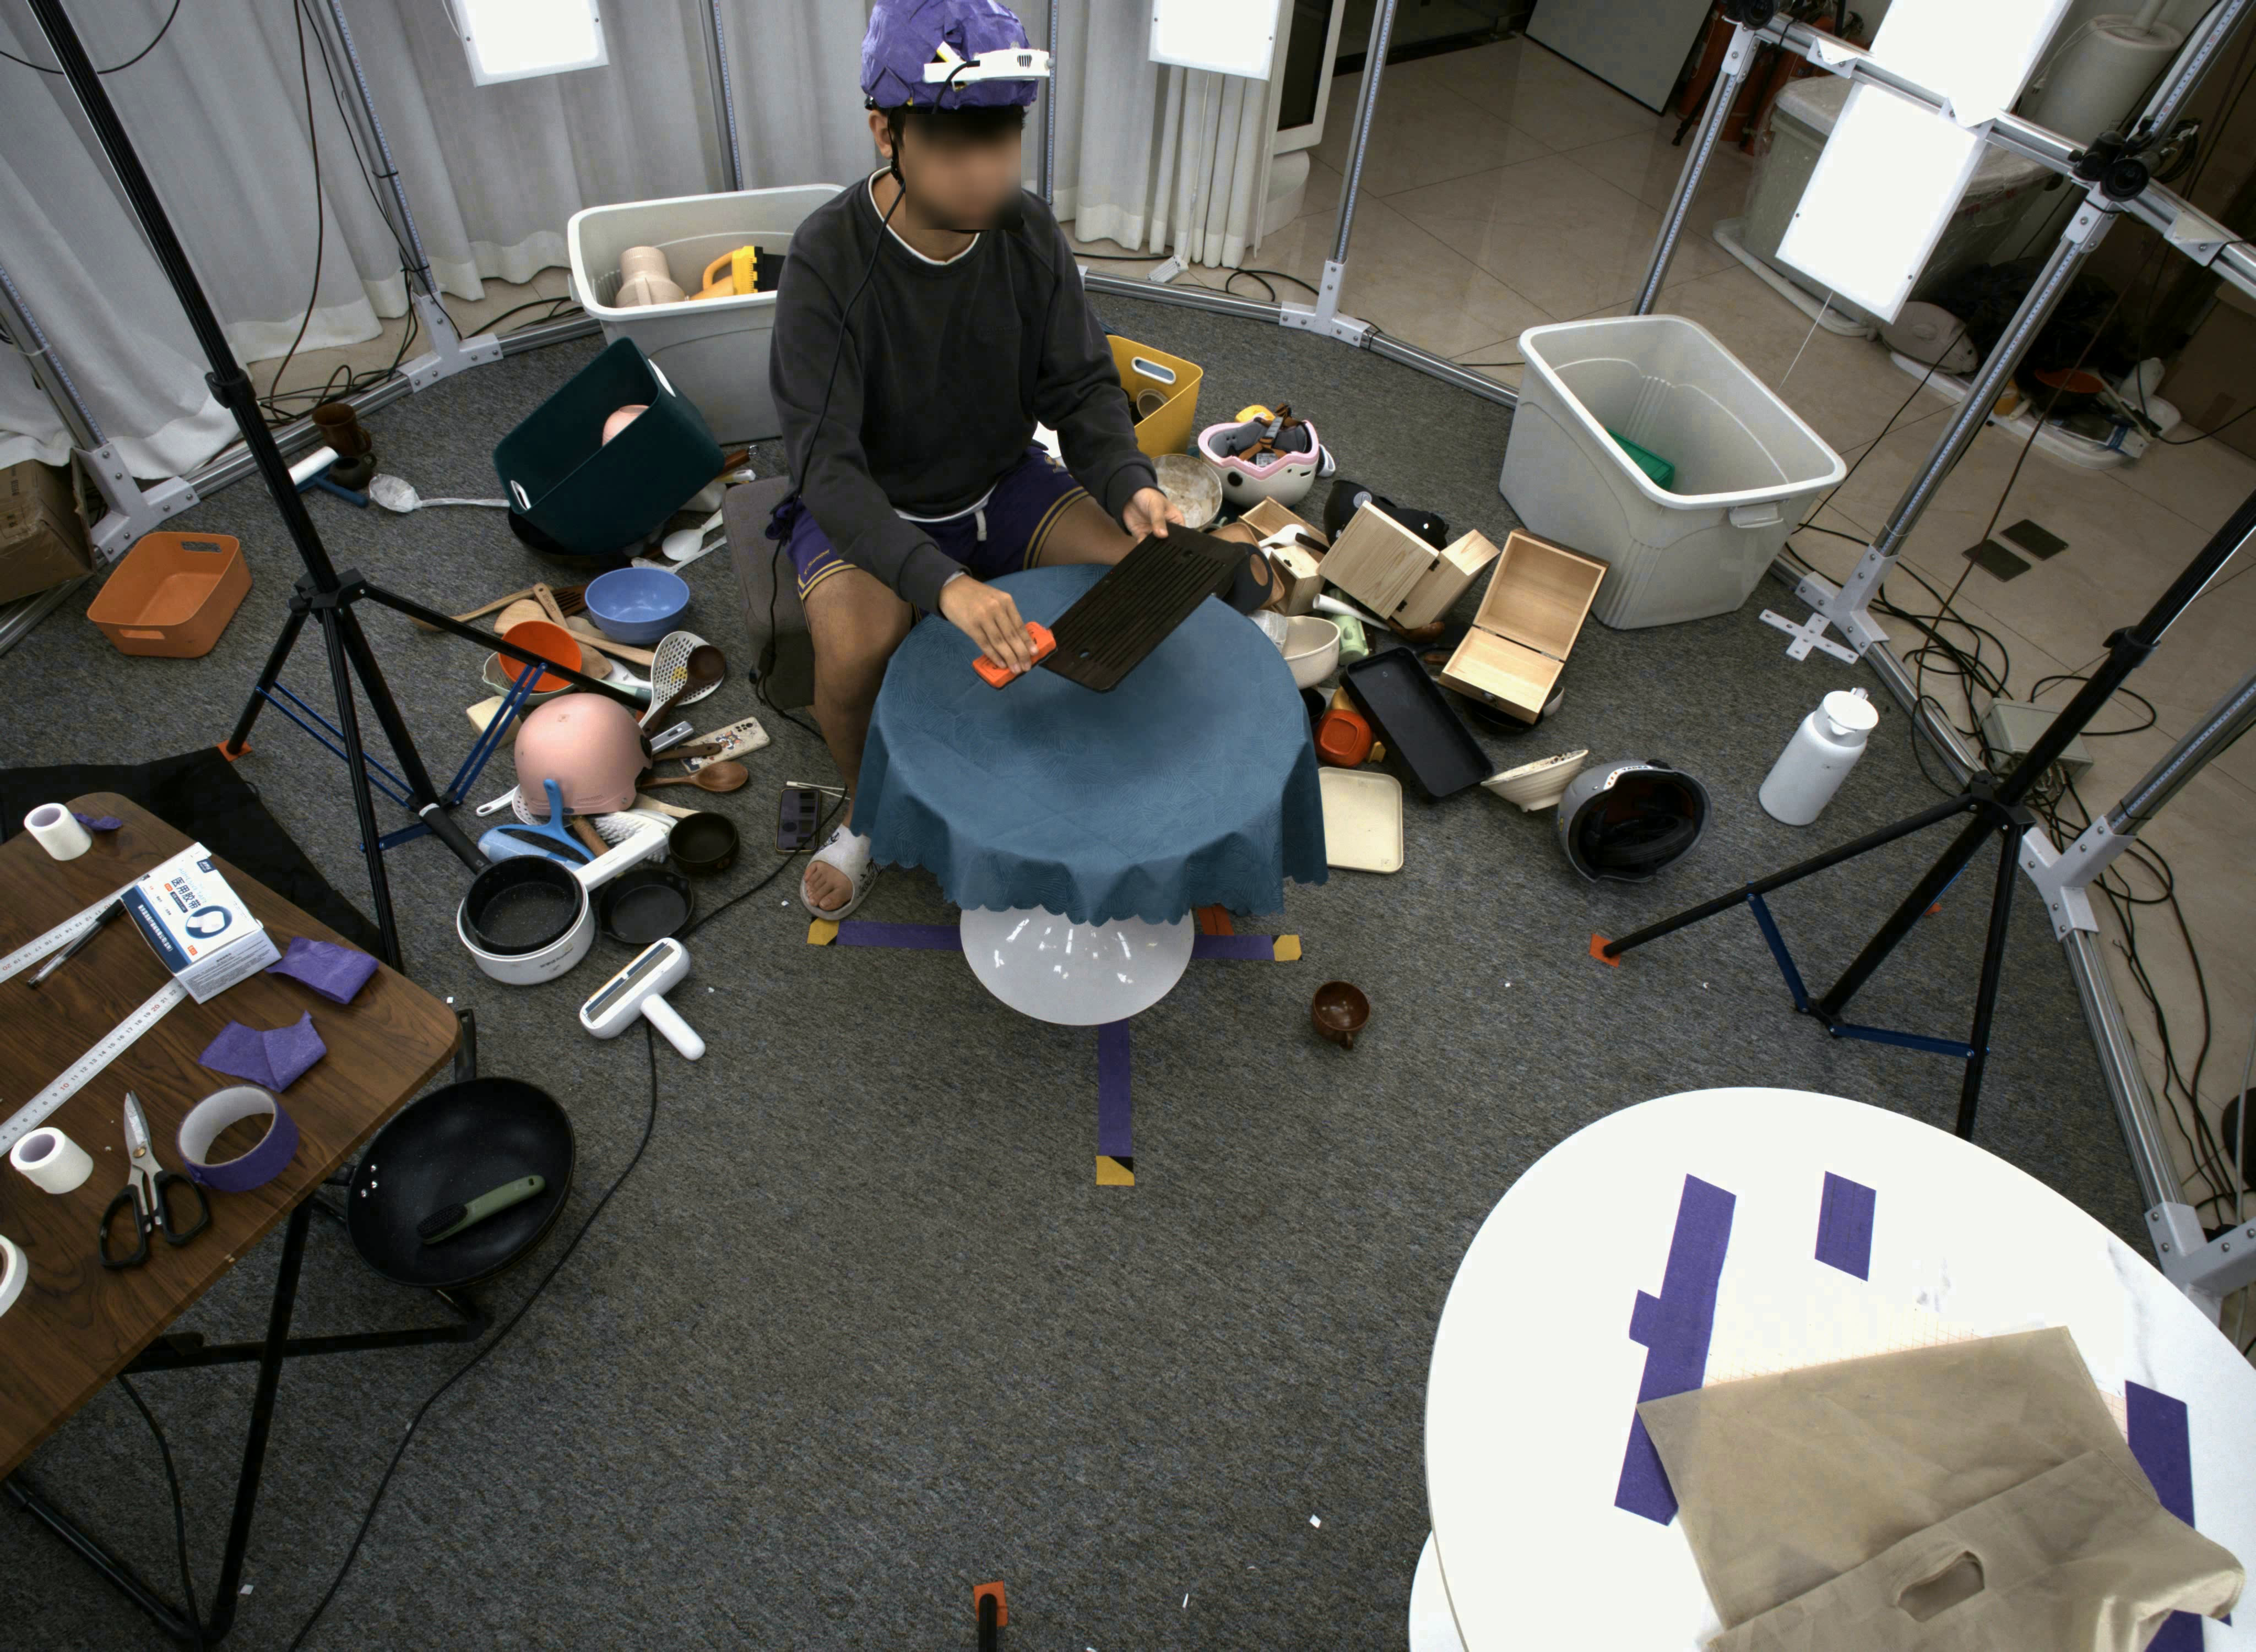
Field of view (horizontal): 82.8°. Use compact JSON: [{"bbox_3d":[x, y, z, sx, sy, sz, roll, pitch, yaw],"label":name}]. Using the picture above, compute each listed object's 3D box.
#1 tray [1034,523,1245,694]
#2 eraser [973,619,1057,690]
[{"bbox_3d":[0.009,-0.302,1.761,0.172,0.018,0.309,27,65,39],"label":"tray"},{"bbox_3d":[-0.152,-0.231,1.729,0.109,0.022,0.060,-39,52,-16],"label":"eraser"}]
